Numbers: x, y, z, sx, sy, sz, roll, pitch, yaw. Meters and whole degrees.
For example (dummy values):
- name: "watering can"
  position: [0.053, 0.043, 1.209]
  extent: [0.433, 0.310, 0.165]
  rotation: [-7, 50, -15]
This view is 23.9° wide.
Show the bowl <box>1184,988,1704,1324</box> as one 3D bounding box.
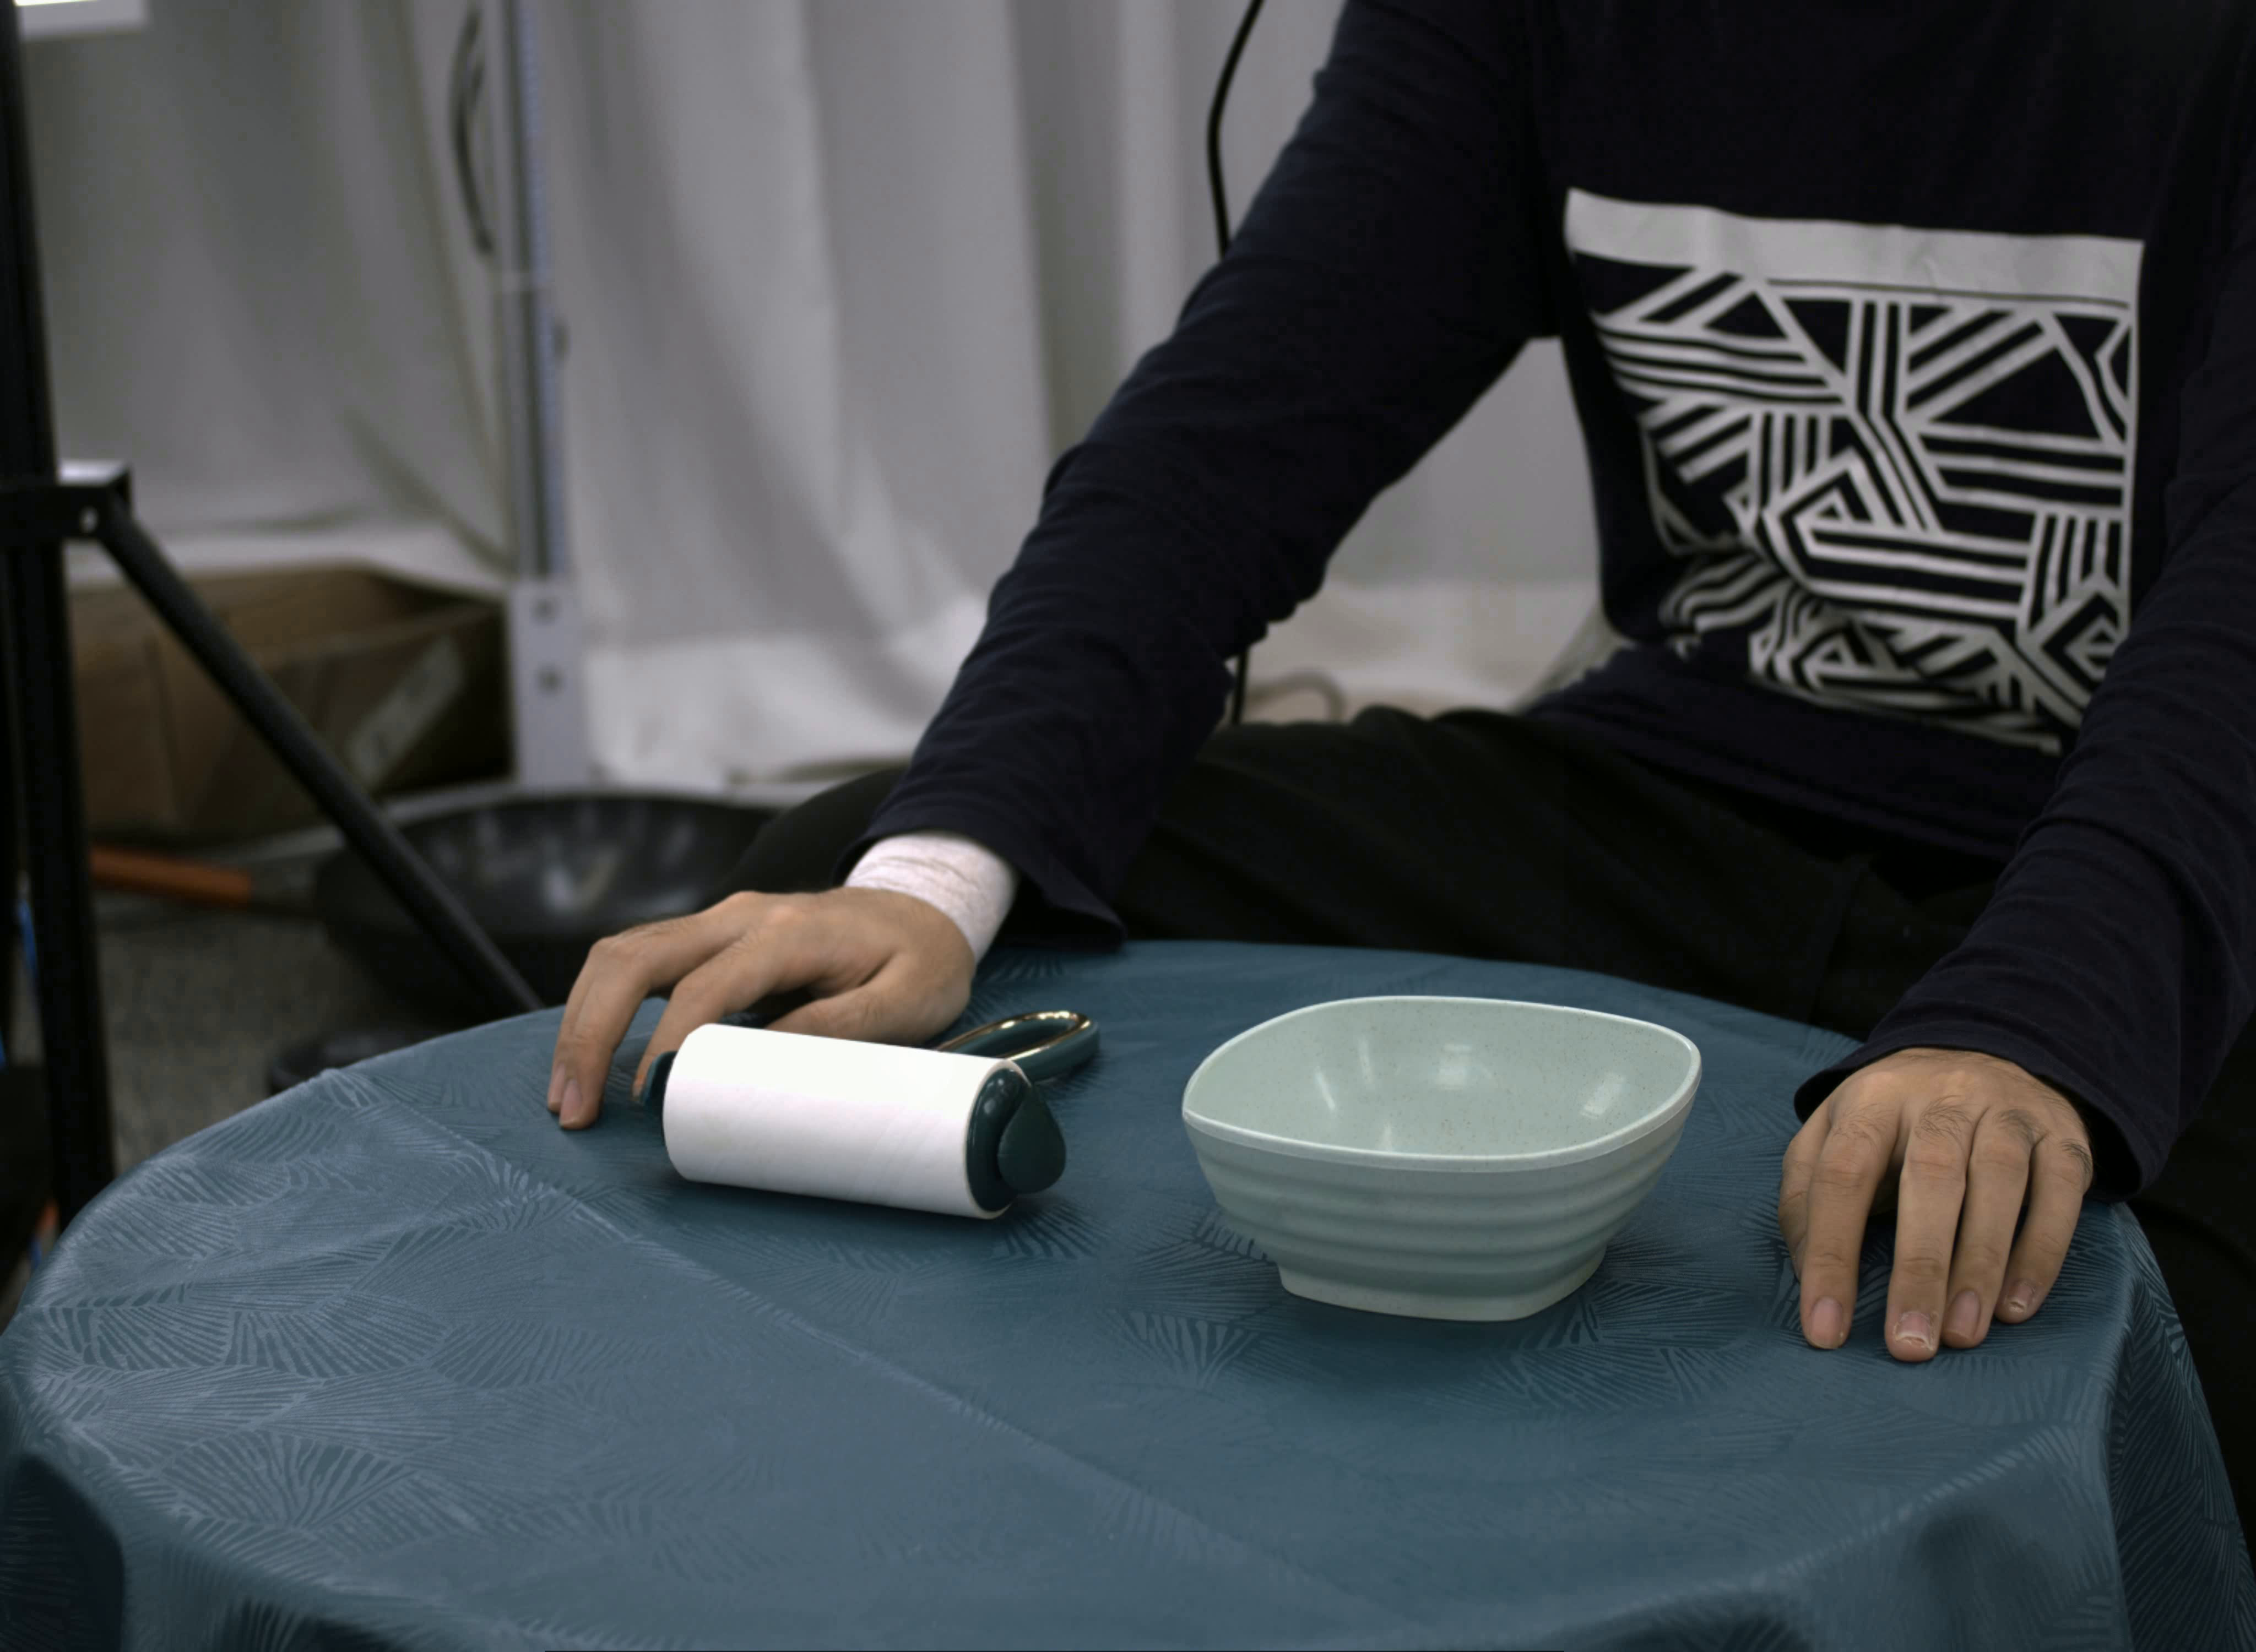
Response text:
- name: "bowl"
  position: [0.090, 0.096, 1.484]
  extent: [0.151, 0.058, 0.152]
  rotation: [-4, 17, 0]

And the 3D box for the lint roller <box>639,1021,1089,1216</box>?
- name: "lint roller"
  position: [-0.055, 0.073, 1.623]
  extent: [0.136, 0.048, 0.177]
  rotation: [5, 14, 25]
